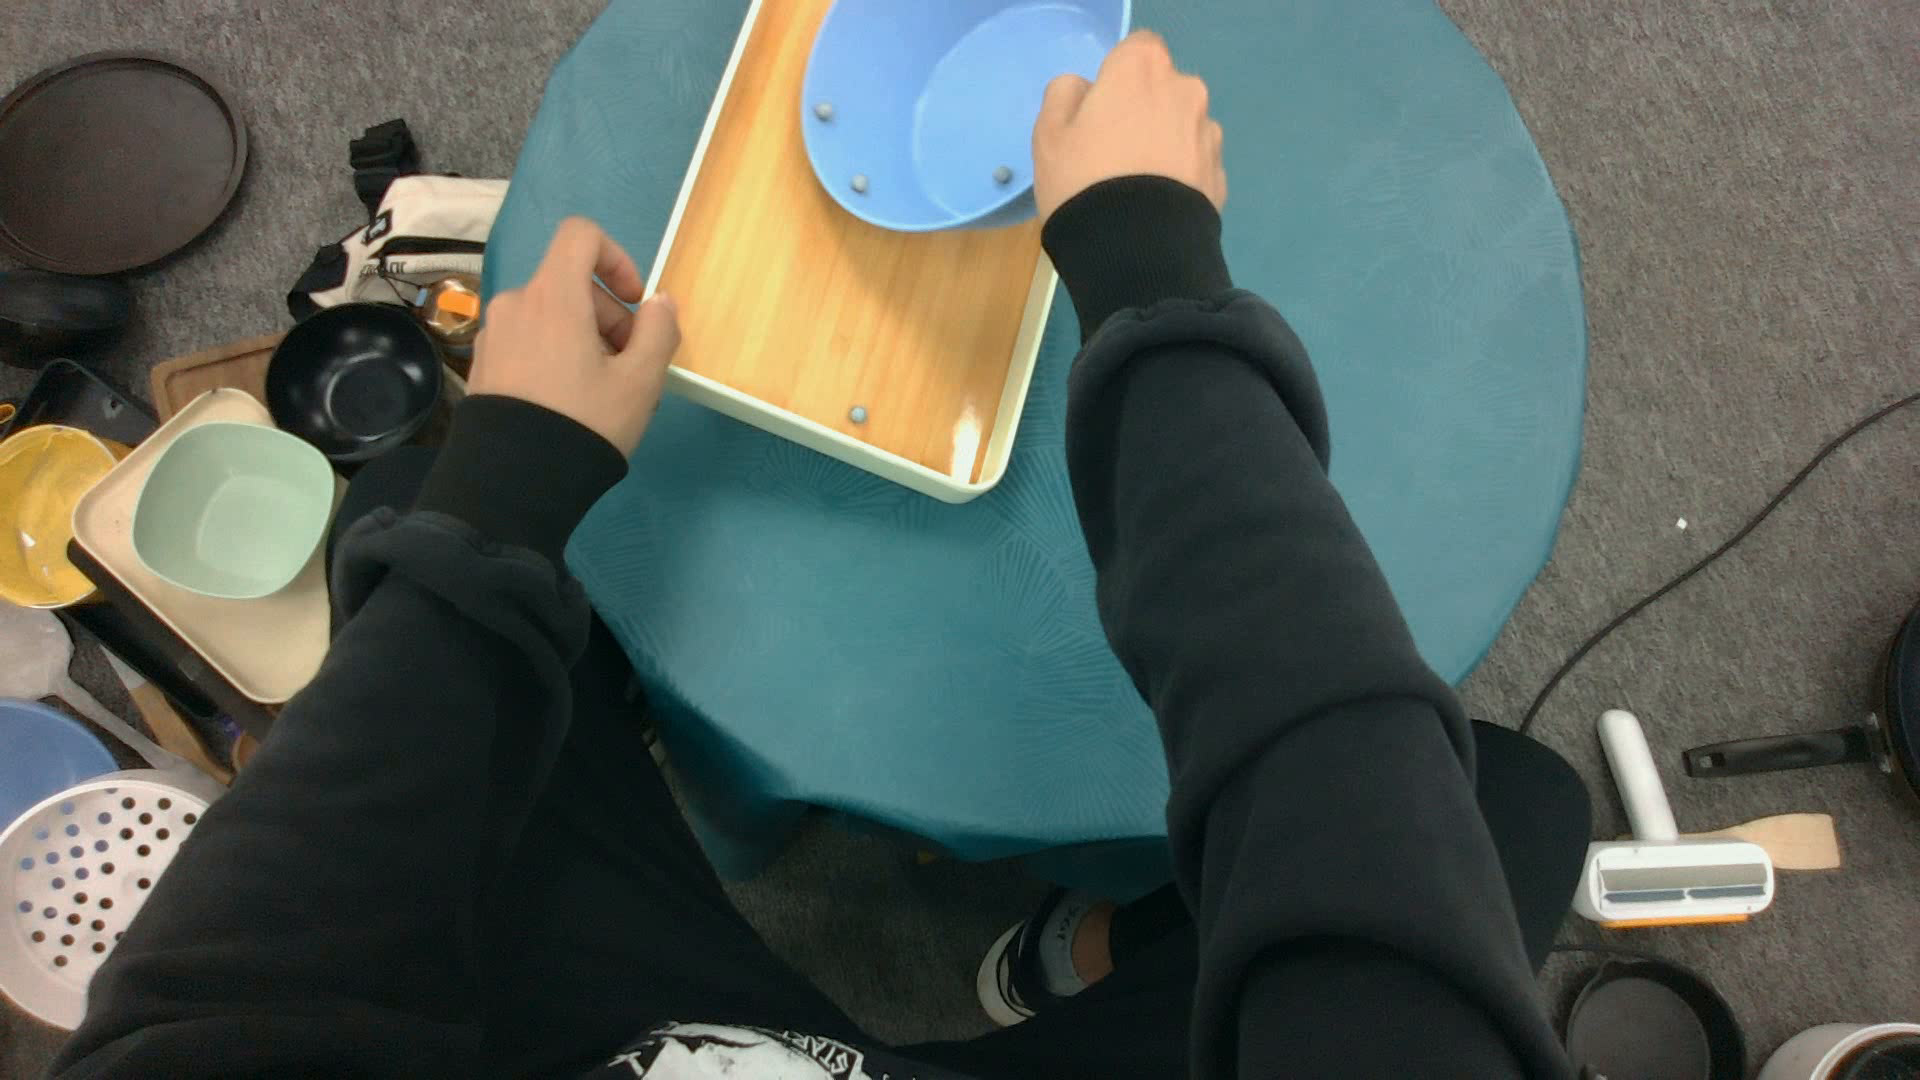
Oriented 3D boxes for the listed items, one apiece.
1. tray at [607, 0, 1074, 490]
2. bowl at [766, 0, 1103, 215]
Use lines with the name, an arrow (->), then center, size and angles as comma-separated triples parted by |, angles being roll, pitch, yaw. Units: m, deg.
tray -> -0.046, -0.189, 0.708 | 0.191, 0.027, 0.301 | 21, 68, -17
bowl -> -0.003, -0.226, 0.669 | 0.175, 0.070, 0.176 | -7, 73, 24
